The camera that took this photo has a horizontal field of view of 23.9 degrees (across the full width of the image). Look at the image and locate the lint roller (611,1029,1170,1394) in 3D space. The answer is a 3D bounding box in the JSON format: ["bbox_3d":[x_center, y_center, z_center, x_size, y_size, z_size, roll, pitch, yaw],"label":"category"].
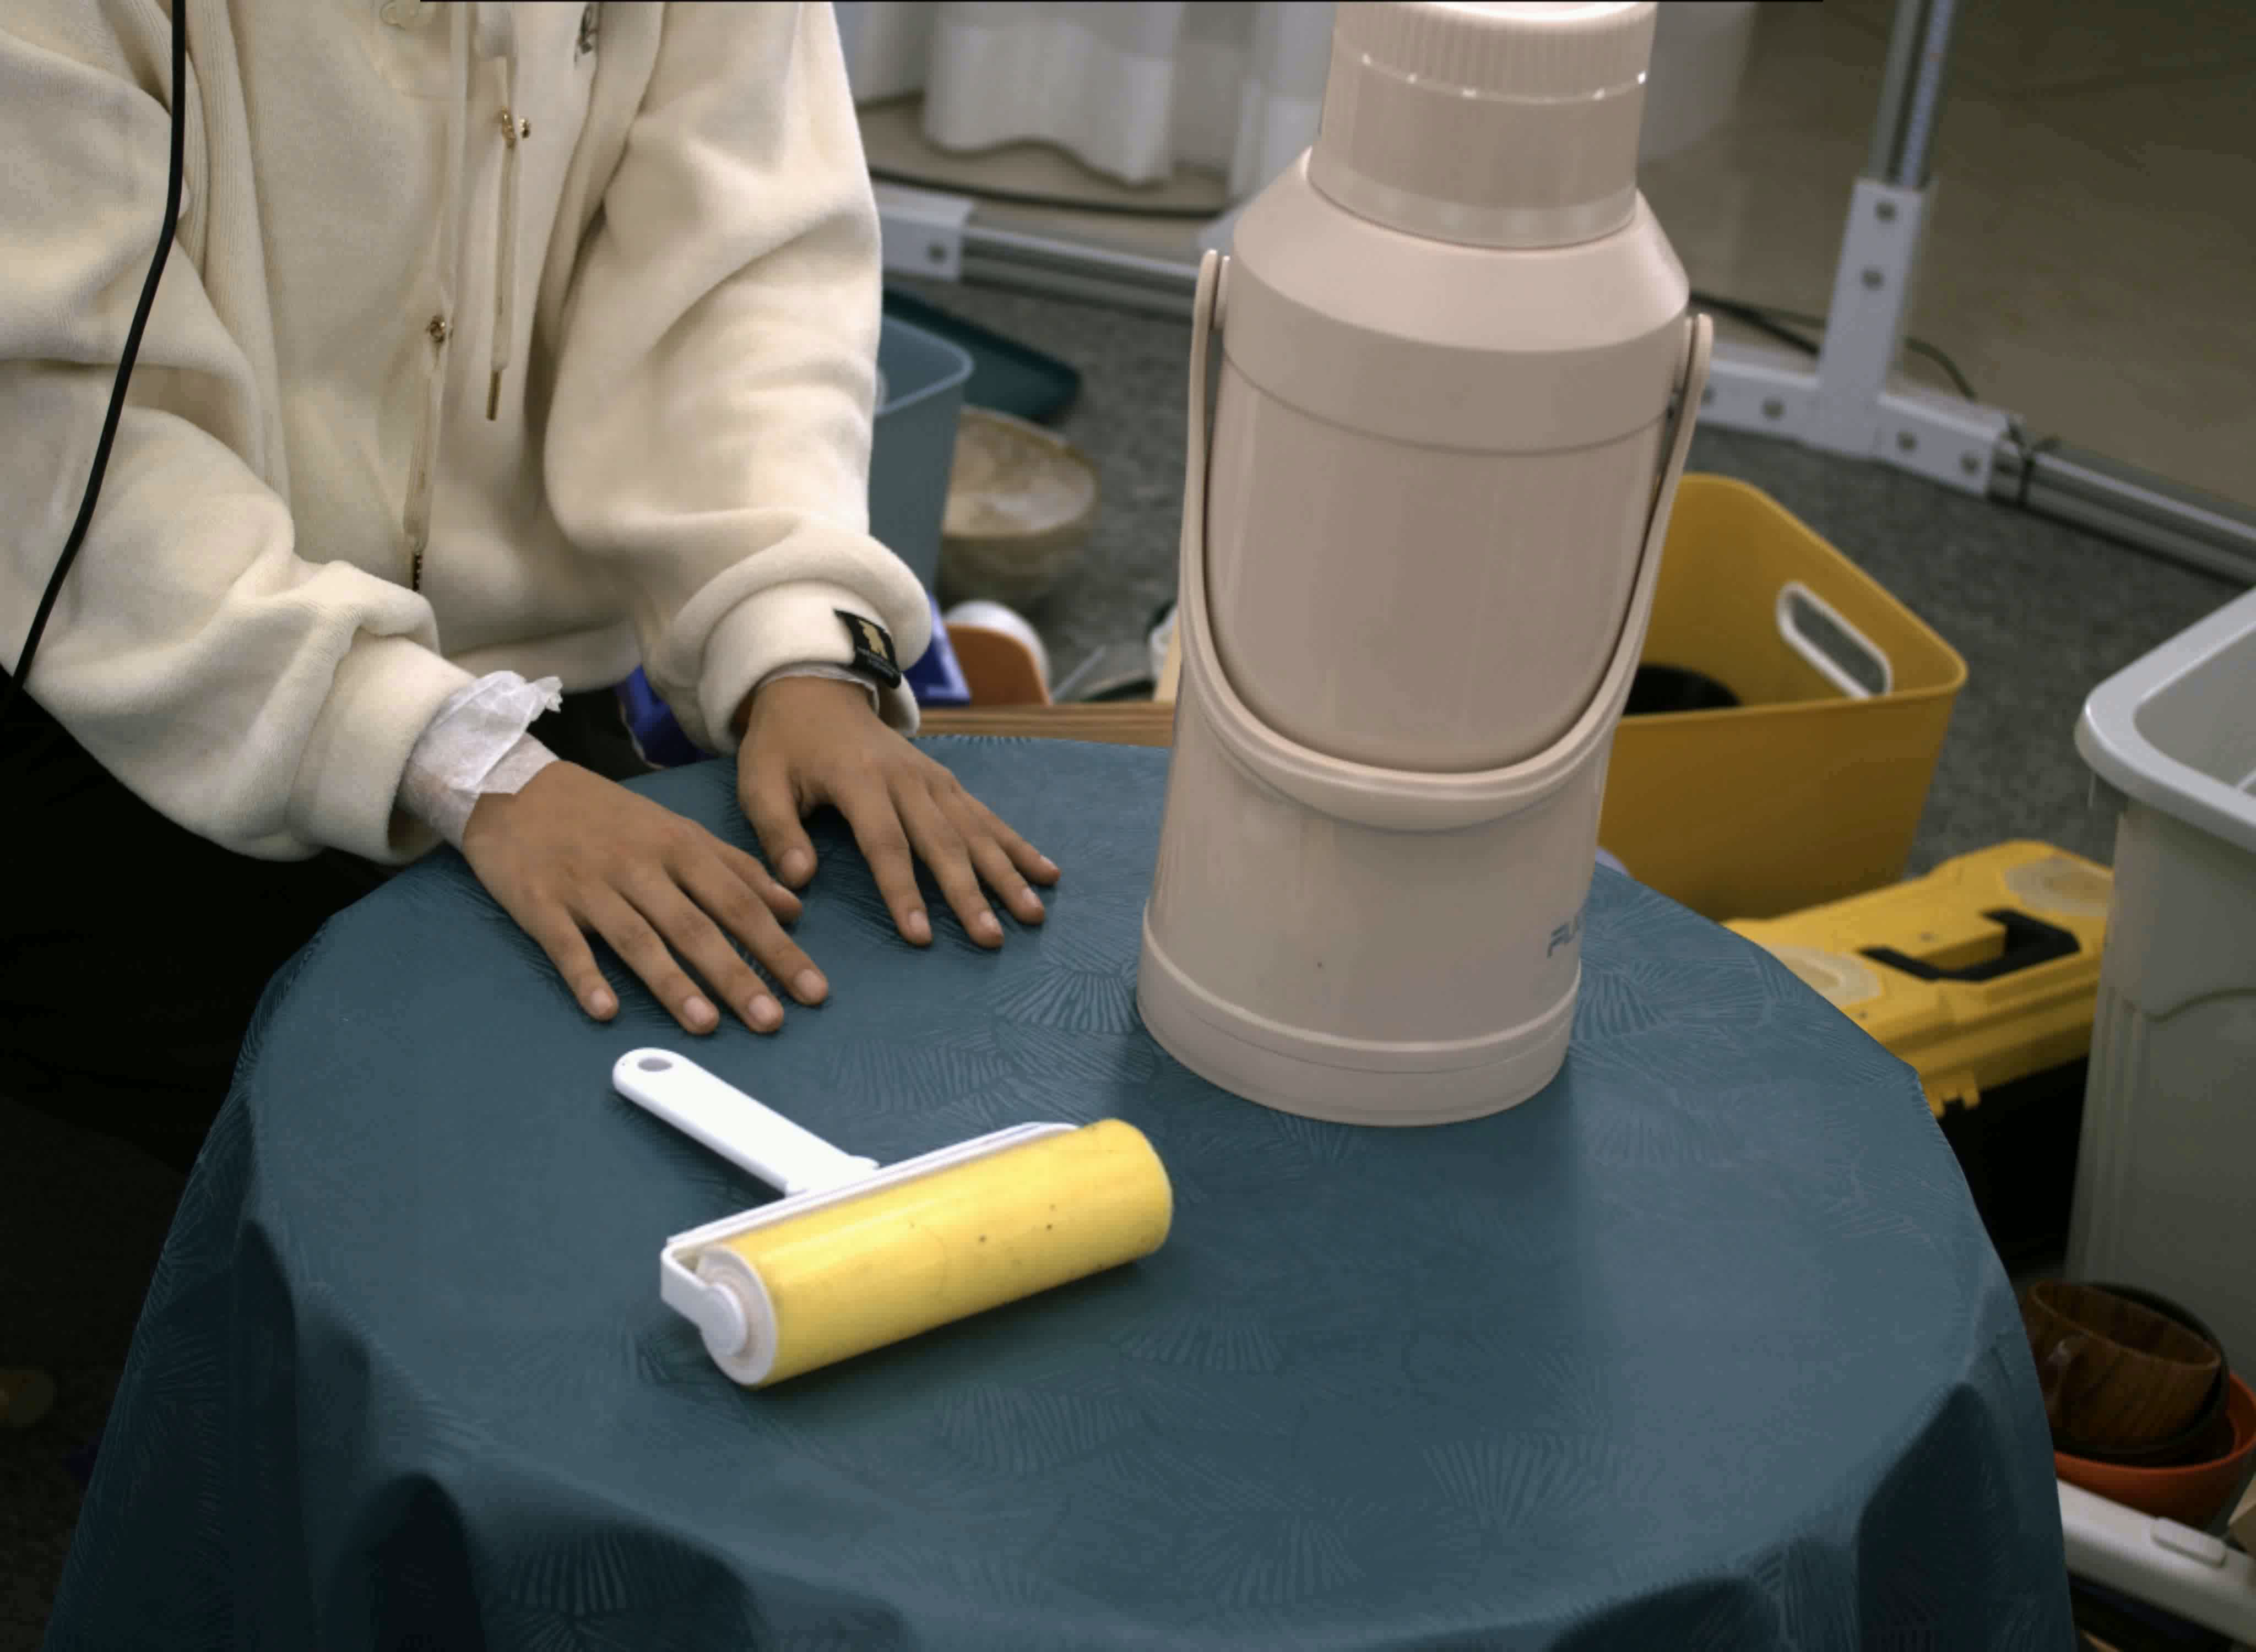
[{"bbox_3d":[-0.108,0.105,1.755,0.173,0.051,0.193,-16,41,-37],"label":"lint roller"}]

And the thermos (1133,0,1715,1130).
[{"bbox_3d":[0.104,-0.111,1.851,0.175,0.405,0.208,7,26,2],"label":"thermos"}]
